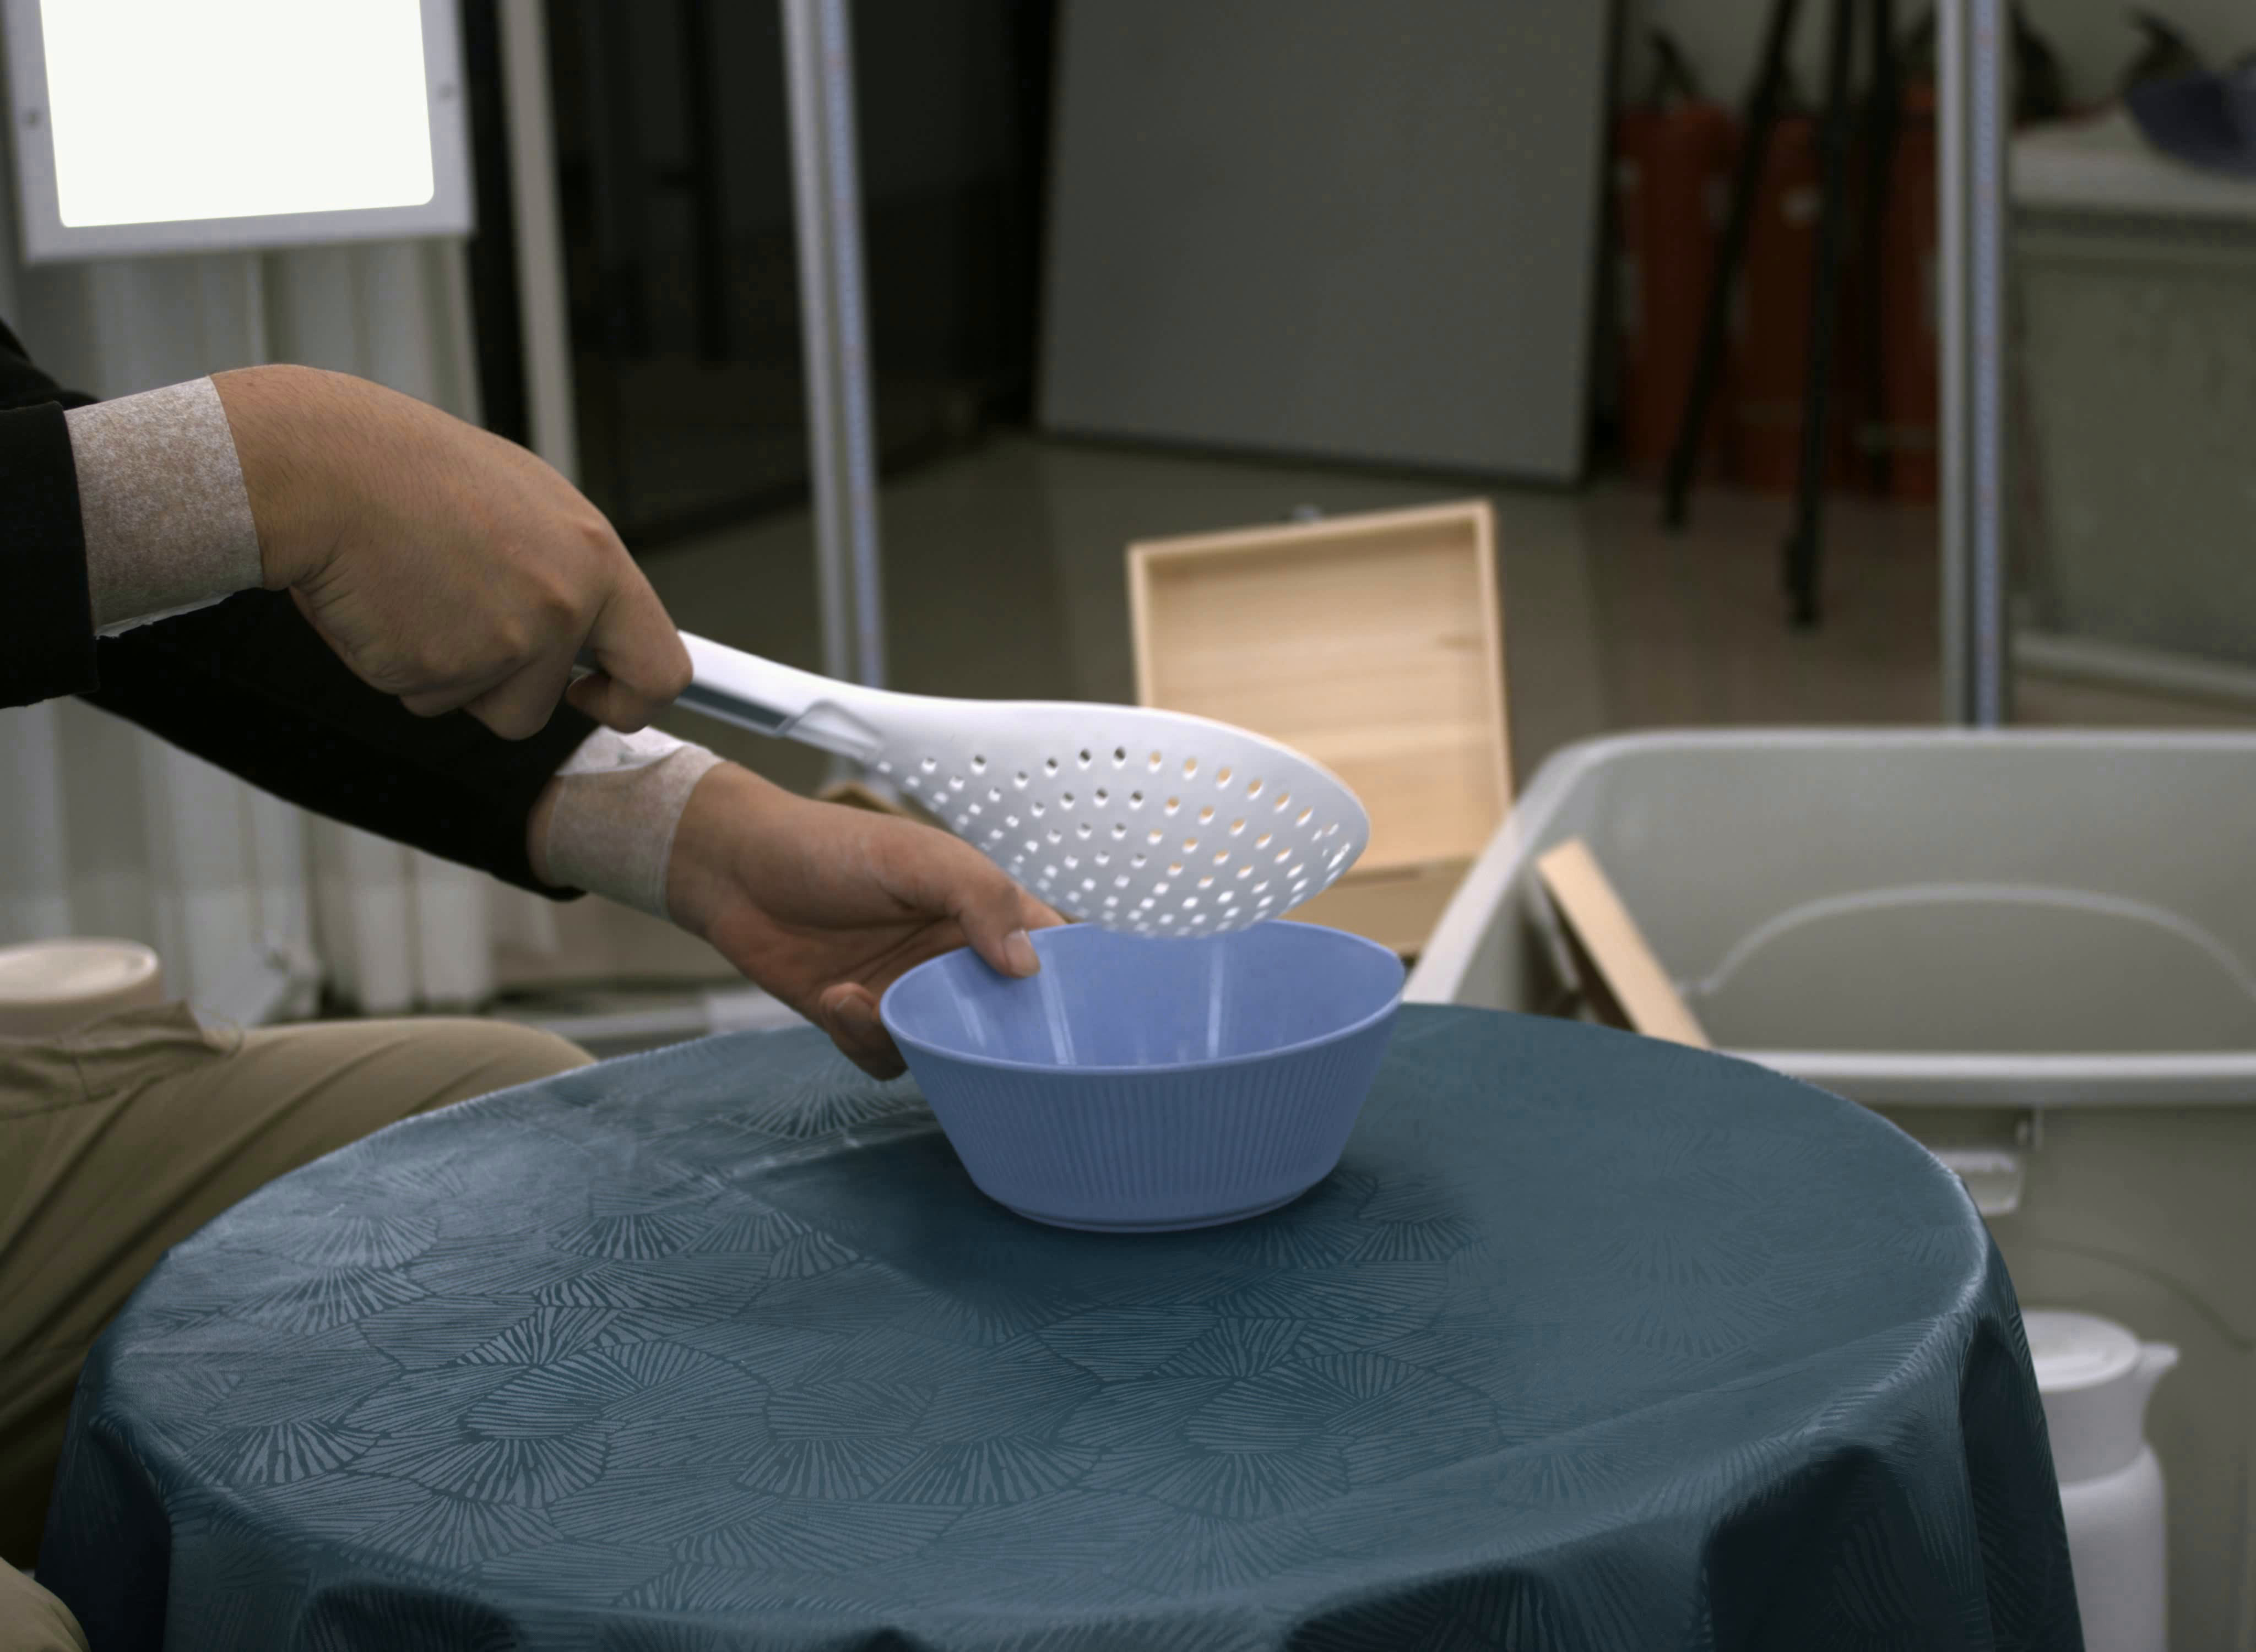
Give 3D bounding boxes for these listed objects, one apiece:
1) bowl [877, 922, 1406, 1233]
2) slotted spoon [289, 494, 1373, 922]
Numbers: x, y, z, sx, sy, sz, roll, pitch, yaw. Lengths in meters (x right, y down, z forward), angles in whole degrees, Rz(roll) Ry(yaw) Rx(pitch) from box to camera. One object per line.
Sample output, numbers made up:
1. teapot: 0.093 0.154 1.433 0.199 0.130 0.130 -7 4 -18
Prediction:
1. bowl: 0.007 0.084 1.770 0.174 0.071 0.176 -5 13 0
2. slotted spoon: -0.088 -0.038 1.649 0.344 0.046 0.137 22 -26 -13
